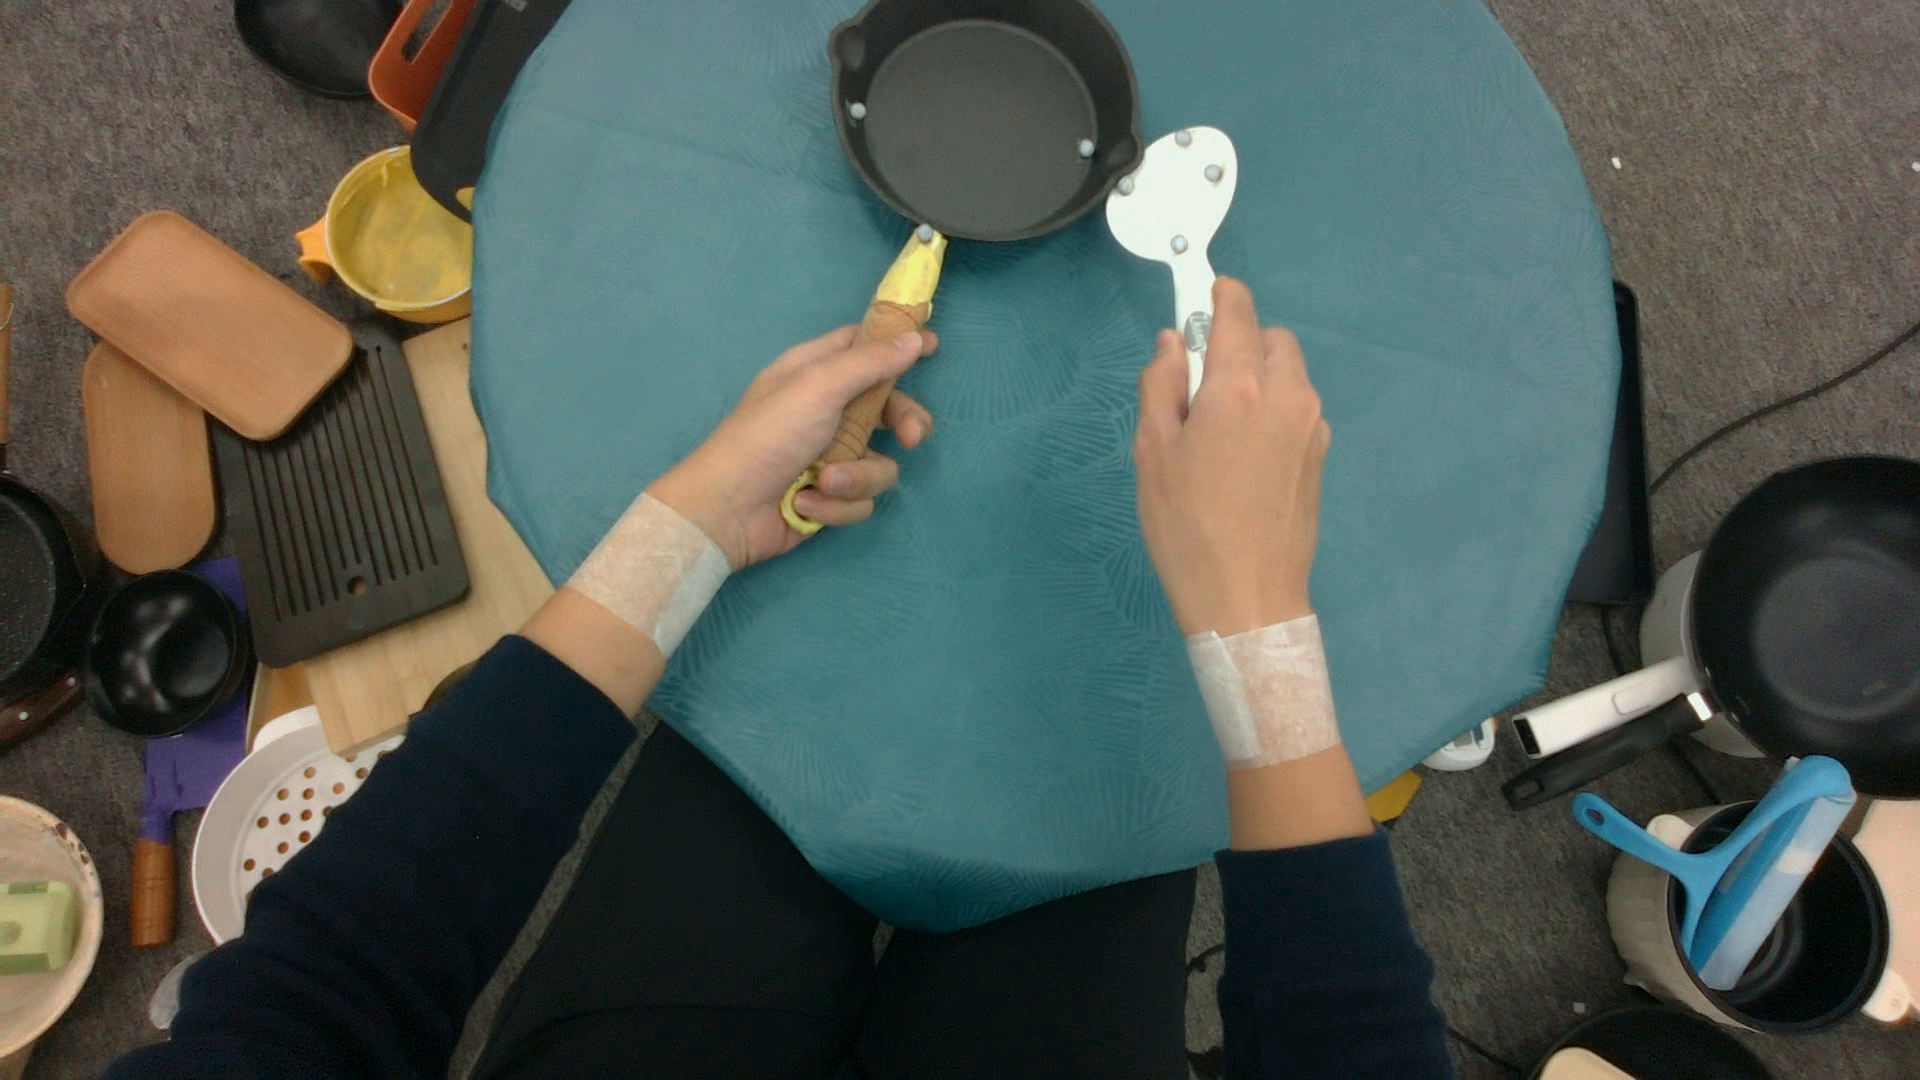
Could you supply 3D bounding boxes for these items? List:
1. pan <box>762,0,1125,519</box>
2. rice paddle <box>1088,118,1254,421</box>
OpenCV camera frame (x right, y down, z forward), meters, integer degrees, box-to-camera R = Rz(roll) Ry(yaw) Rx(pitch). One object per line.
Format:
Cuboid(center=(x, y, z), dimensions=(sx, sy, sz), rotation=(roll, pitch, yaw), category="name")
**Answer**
Cuboid(center=(-0.027, -0.155, 0.684), dimensions=(0.169, 0.049, 0.325), rotation=(23, 74, -1), category="pan")
Cuboid(center=(0.098, -0.136, 0.636), dimensions=(0.068, 0.029, 0.206), rotation=(-24, 45, 20), category="rice paddle")
